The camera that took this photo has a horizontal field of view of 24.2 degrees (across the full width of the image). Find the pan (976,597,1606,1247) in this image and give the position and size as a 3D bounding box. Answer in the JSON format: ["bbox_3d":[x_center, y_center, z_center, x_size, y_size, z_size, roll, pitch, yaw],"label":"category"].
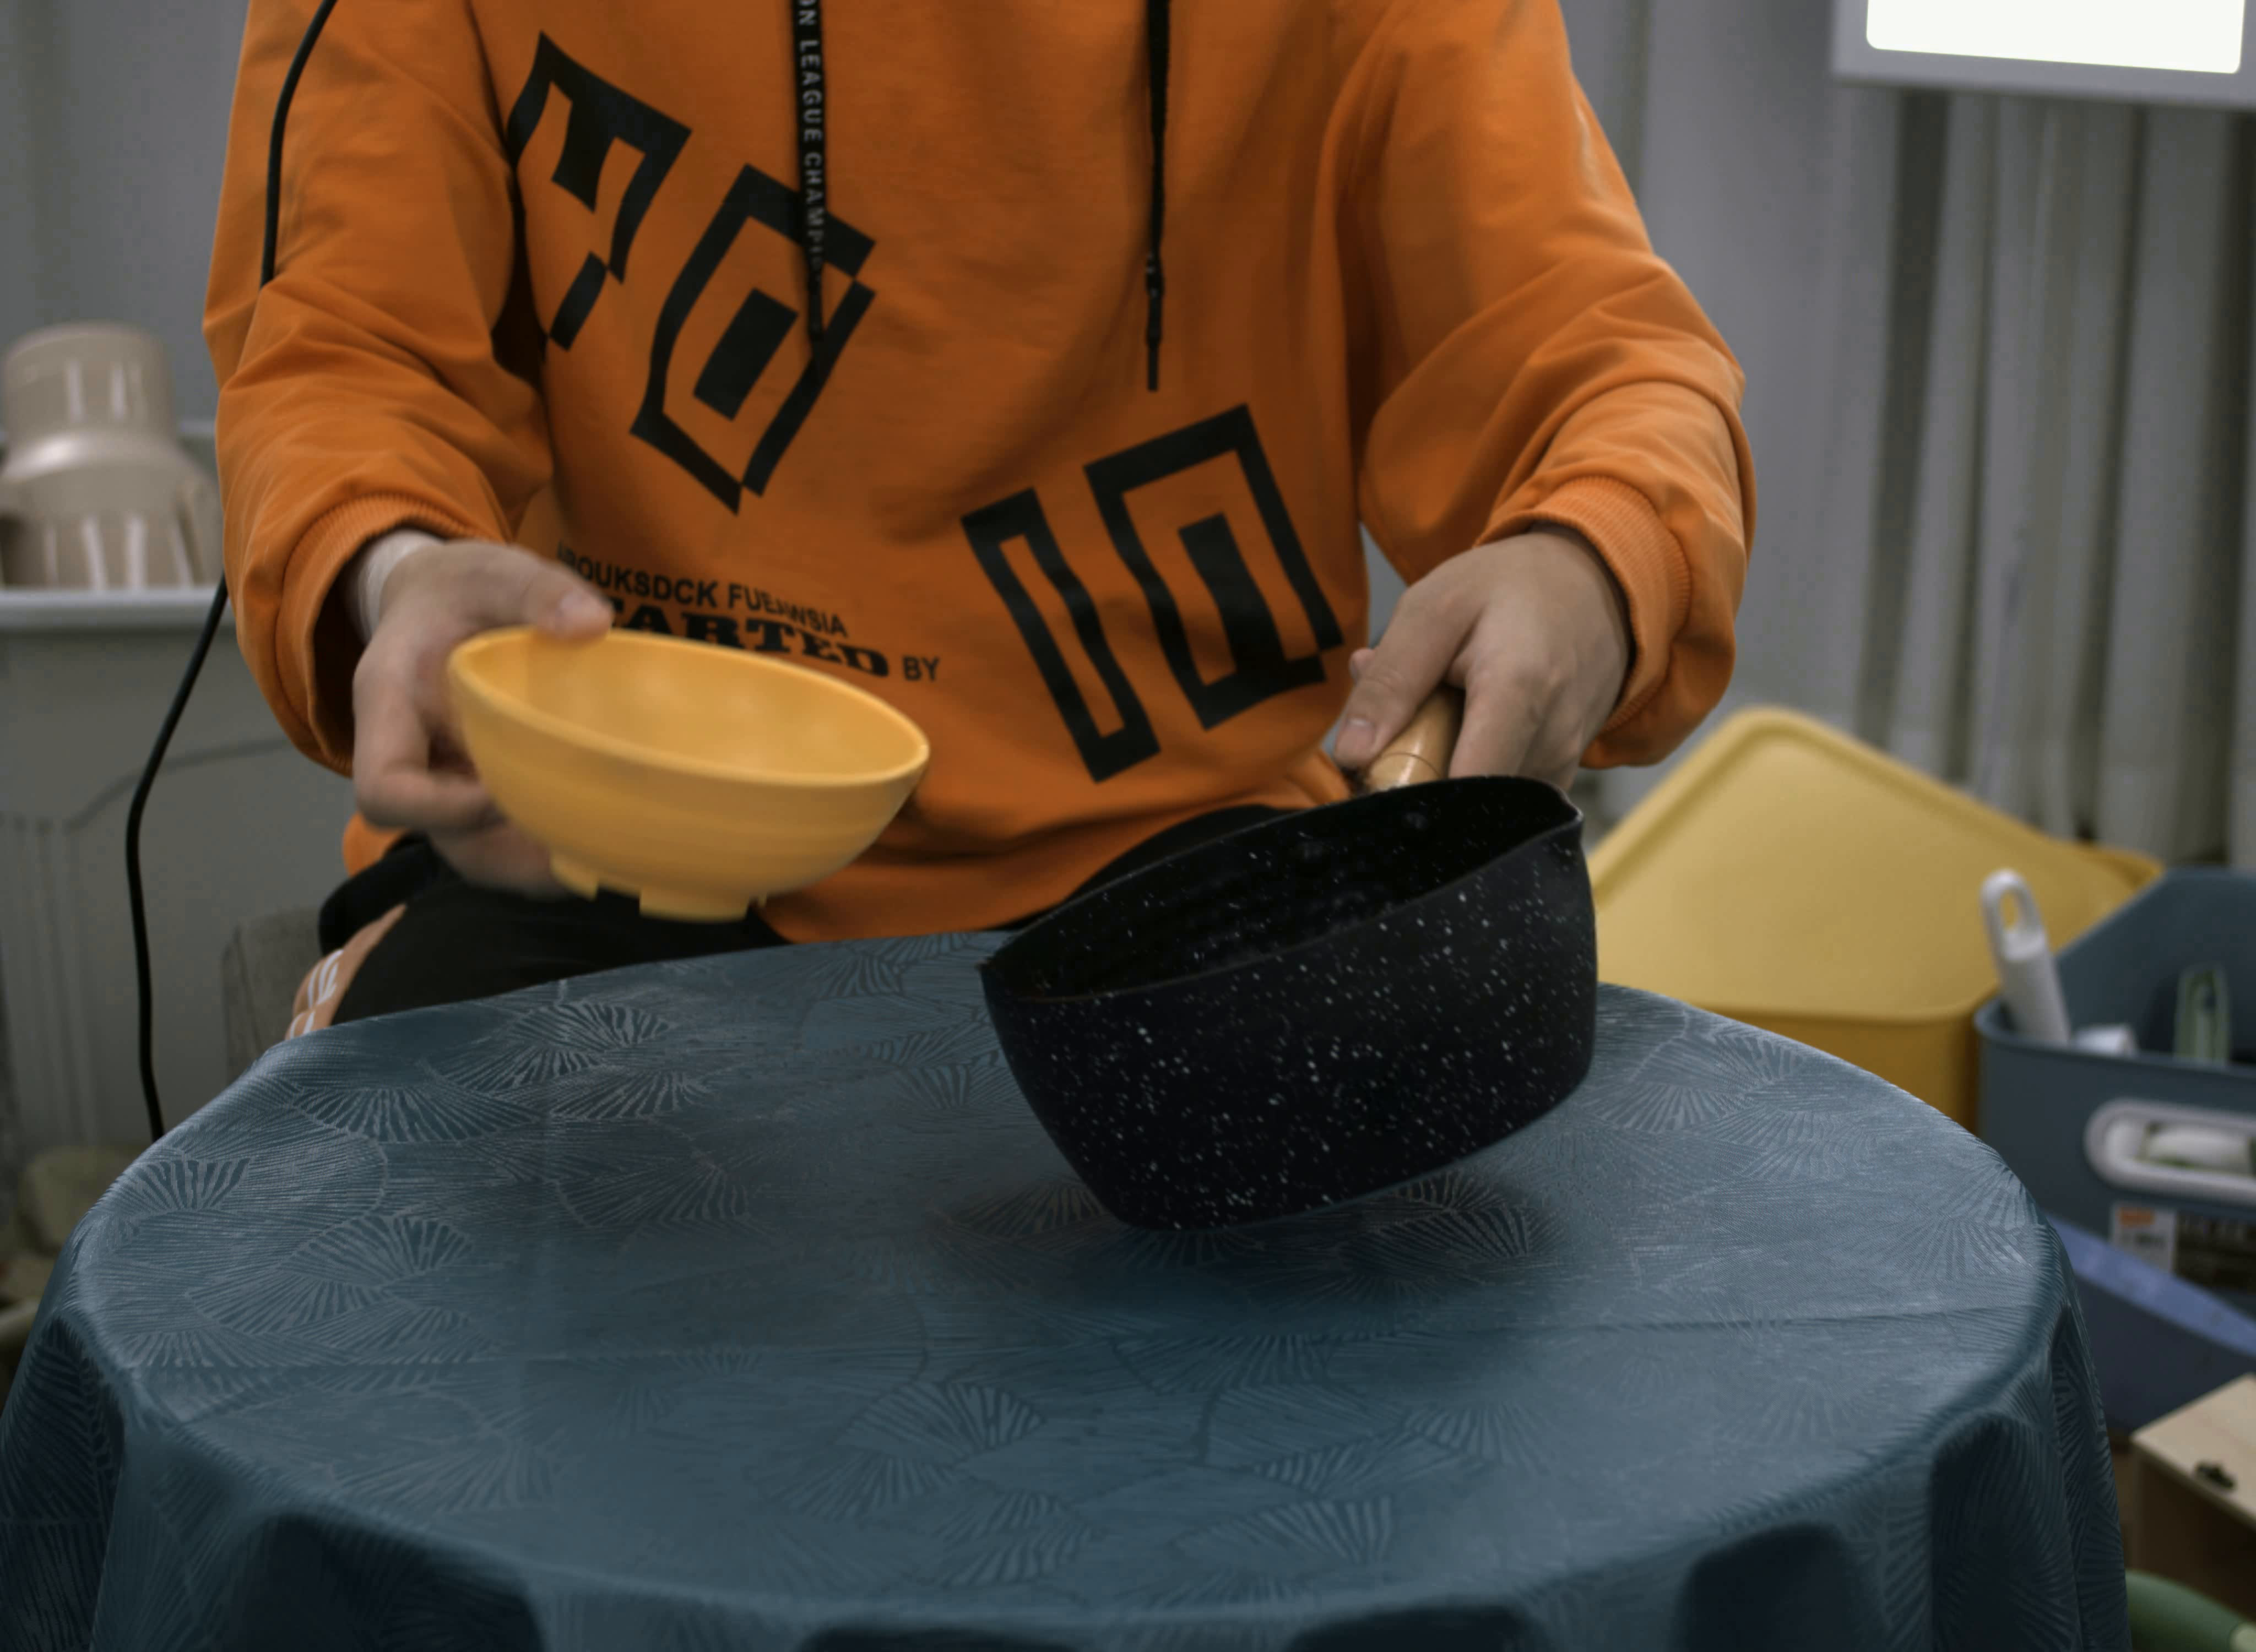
[{"bbox_3d":[0.076,0.024,1.651,0.206,0.109,0.342,-15,13,21],"label":"pan"}]

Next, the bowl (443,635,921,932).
[{"bbox_3d":[-0.138,-0.007,1.577,0.145,0.060,0.144,12,15,-3],"label":"bowl"}]
